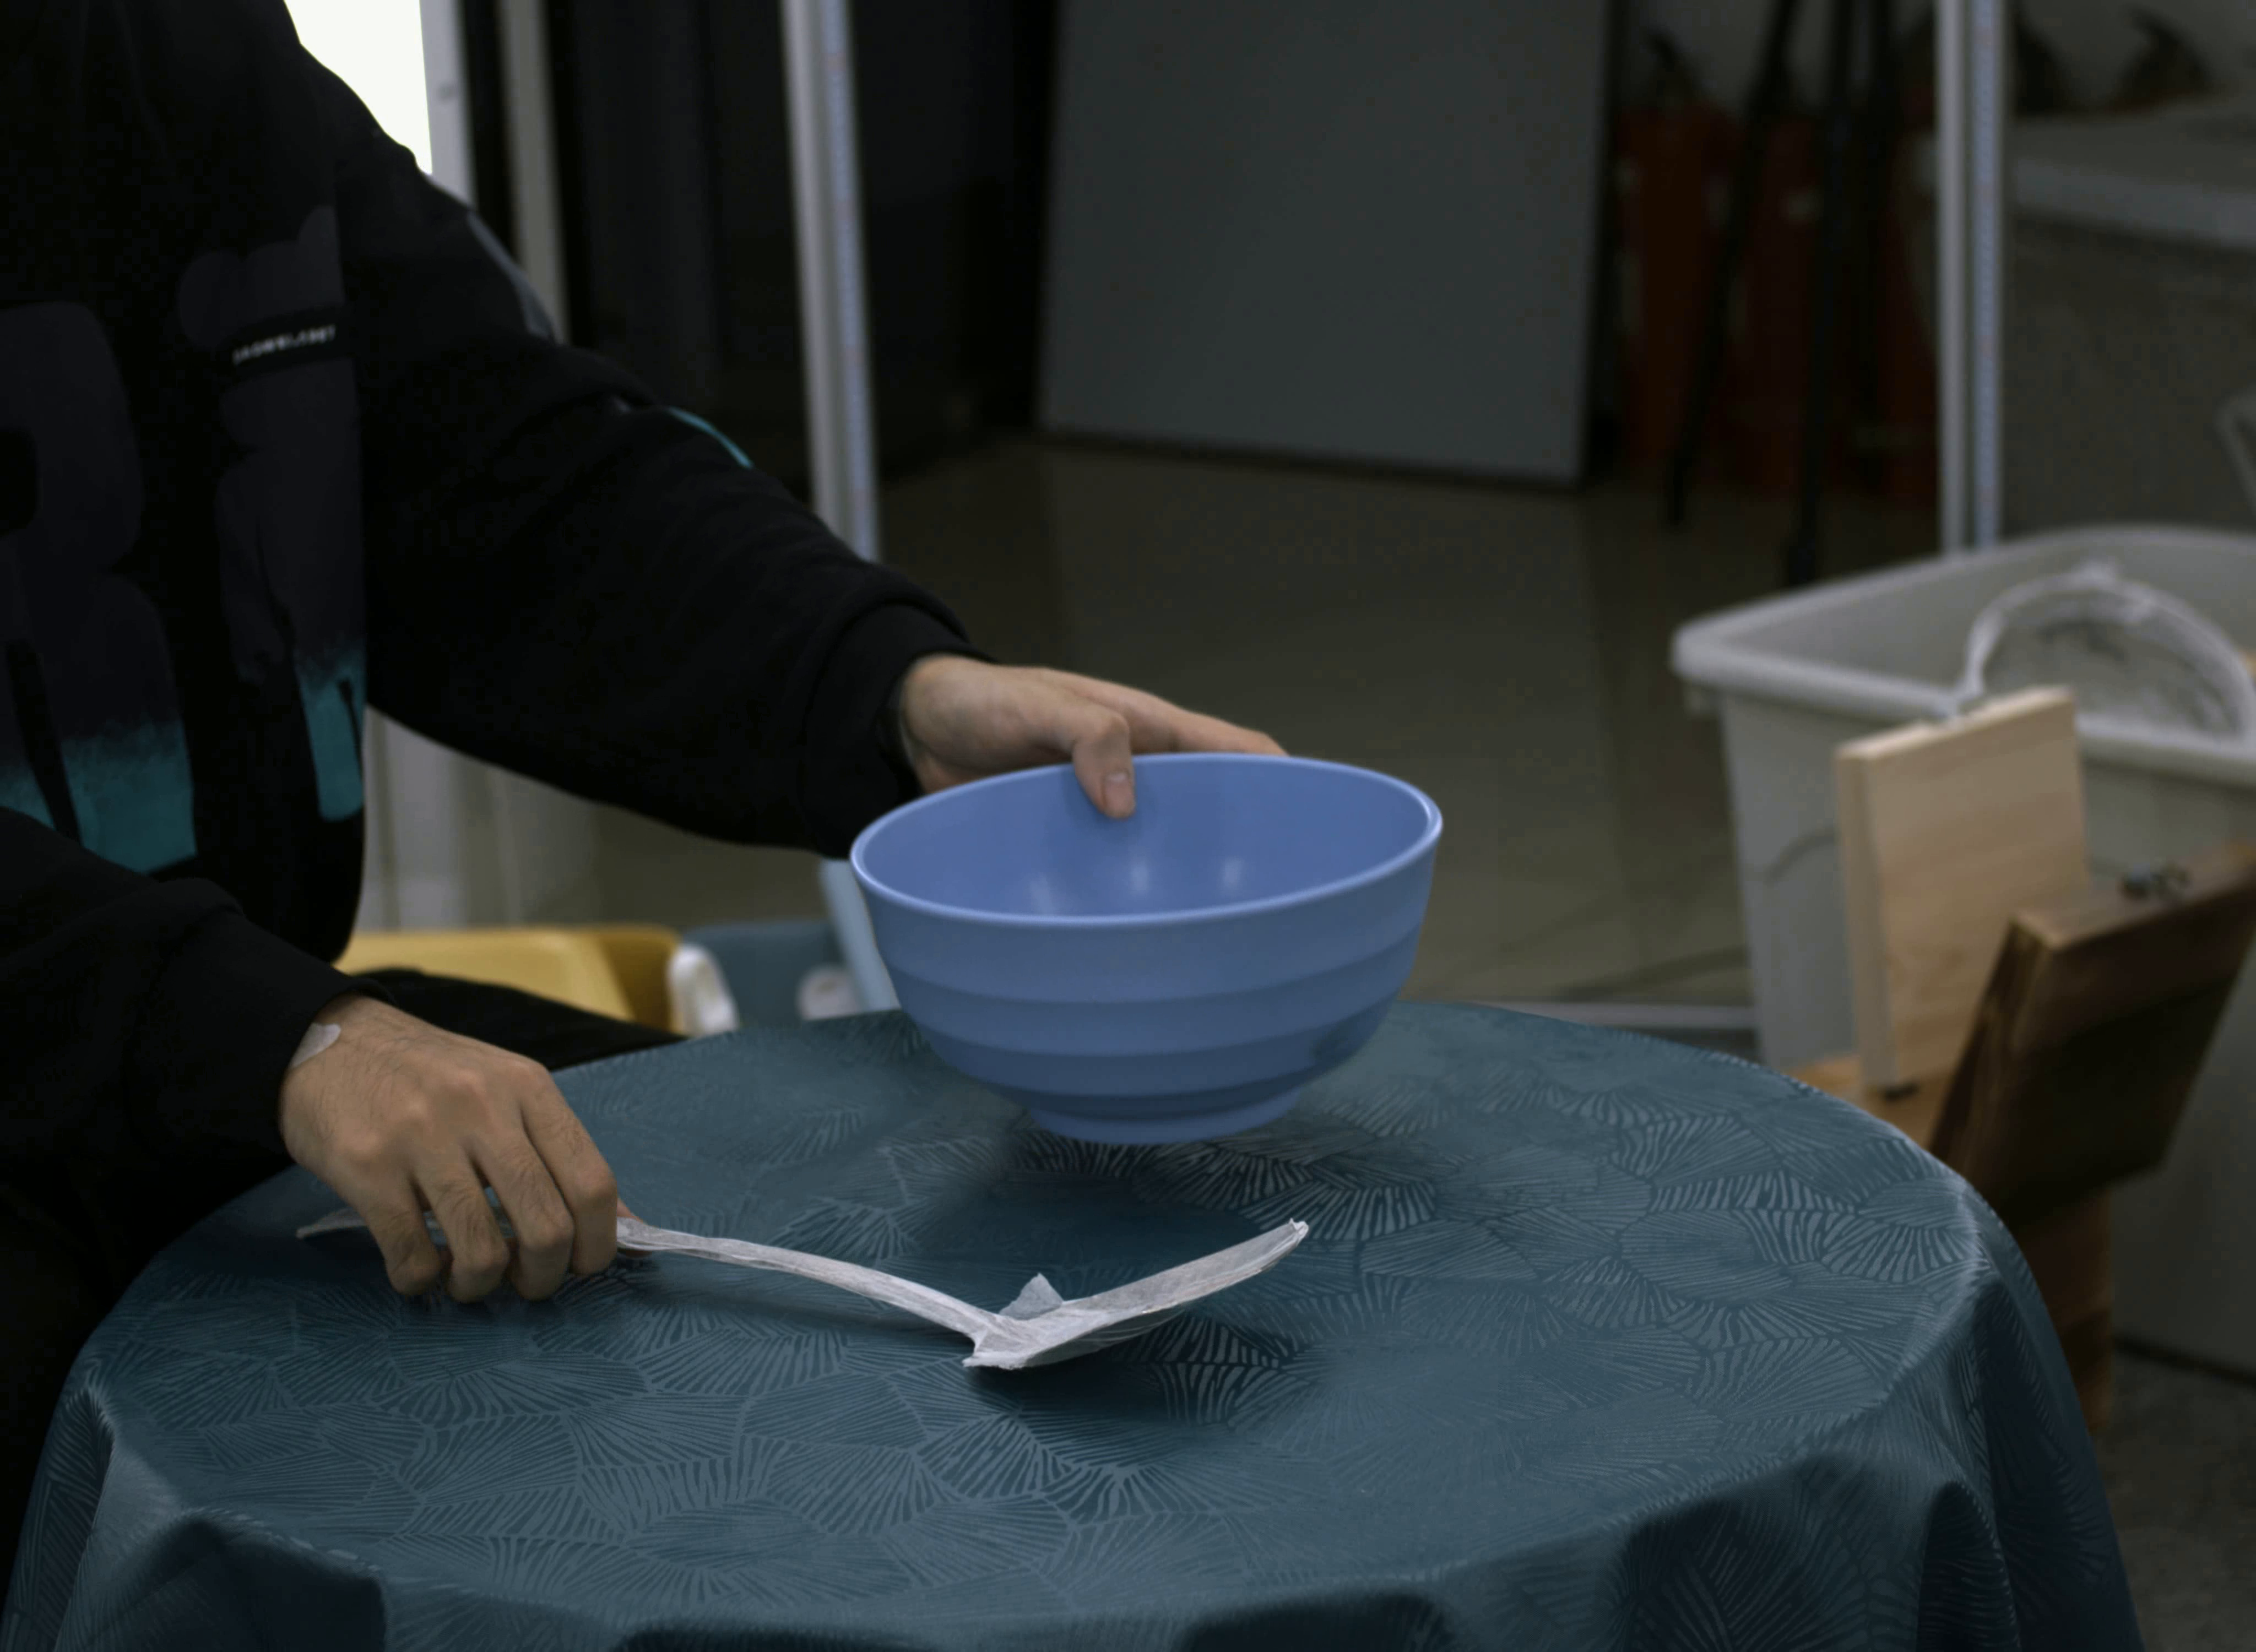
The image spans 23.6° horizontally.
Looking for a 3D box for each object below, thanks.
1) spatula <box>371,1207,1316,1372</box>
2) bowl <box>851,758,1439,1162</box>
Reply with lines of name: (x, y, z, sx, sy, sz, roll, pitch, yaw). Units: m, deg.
spatula: (-0.107, 0.132, 1.680, 0.367, 0.045, 0.097, 6, 19, 34)
bowl: (0.011, 0.050, 1.775, 0.194, 0.096, 0.197, -7, 15, 1)
